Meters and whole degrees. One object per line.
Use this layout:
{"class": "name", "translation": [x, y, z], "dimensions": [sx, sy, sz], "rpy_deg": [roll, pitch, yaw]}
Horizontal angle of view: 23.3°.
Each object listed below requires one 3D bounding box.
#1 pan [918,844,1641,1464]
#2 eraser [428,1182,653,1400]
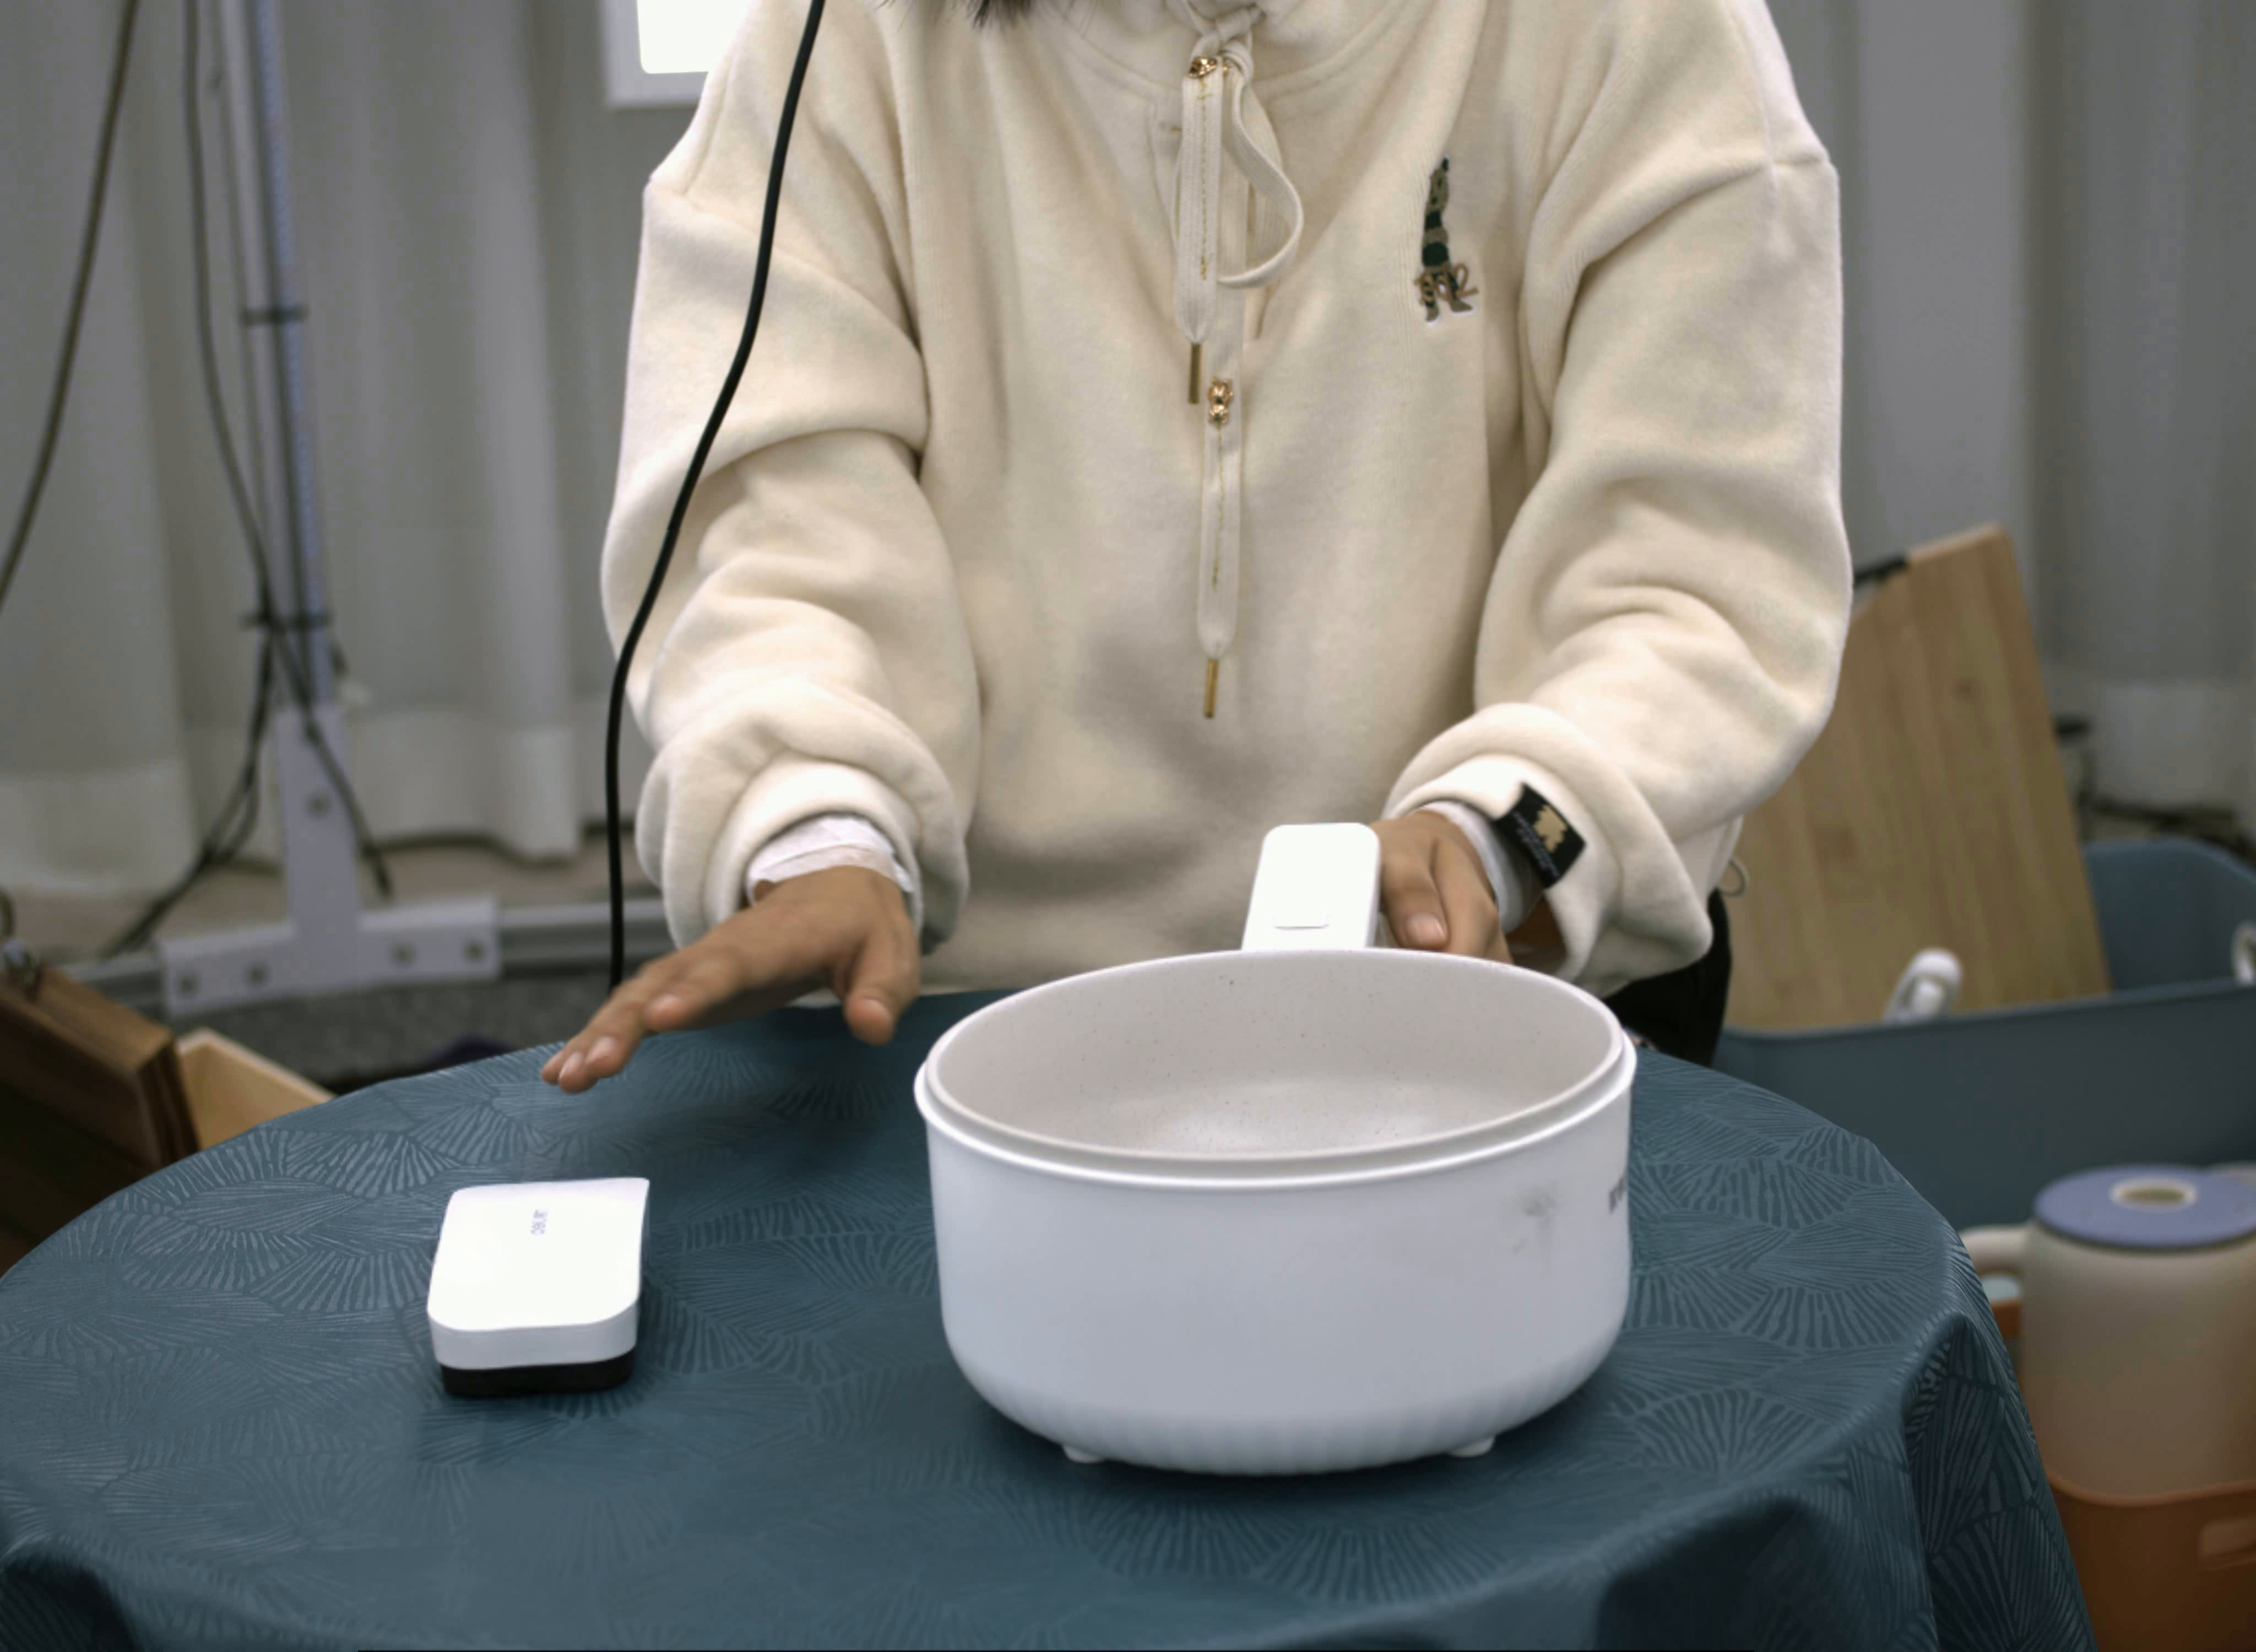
{"class": "pan", "translation": [0.049, 0.091, 1.603], "dimensions": [0.201, 0.102, 0.356], "rpy_deg": [0, 13, 5]}
{"class": "eraser", "translation": [-0.172, 0.133, 1.620], "dimensions": [0.063, 0.034, 0.132], "rpy_deg": [-1, 15, -2]}
